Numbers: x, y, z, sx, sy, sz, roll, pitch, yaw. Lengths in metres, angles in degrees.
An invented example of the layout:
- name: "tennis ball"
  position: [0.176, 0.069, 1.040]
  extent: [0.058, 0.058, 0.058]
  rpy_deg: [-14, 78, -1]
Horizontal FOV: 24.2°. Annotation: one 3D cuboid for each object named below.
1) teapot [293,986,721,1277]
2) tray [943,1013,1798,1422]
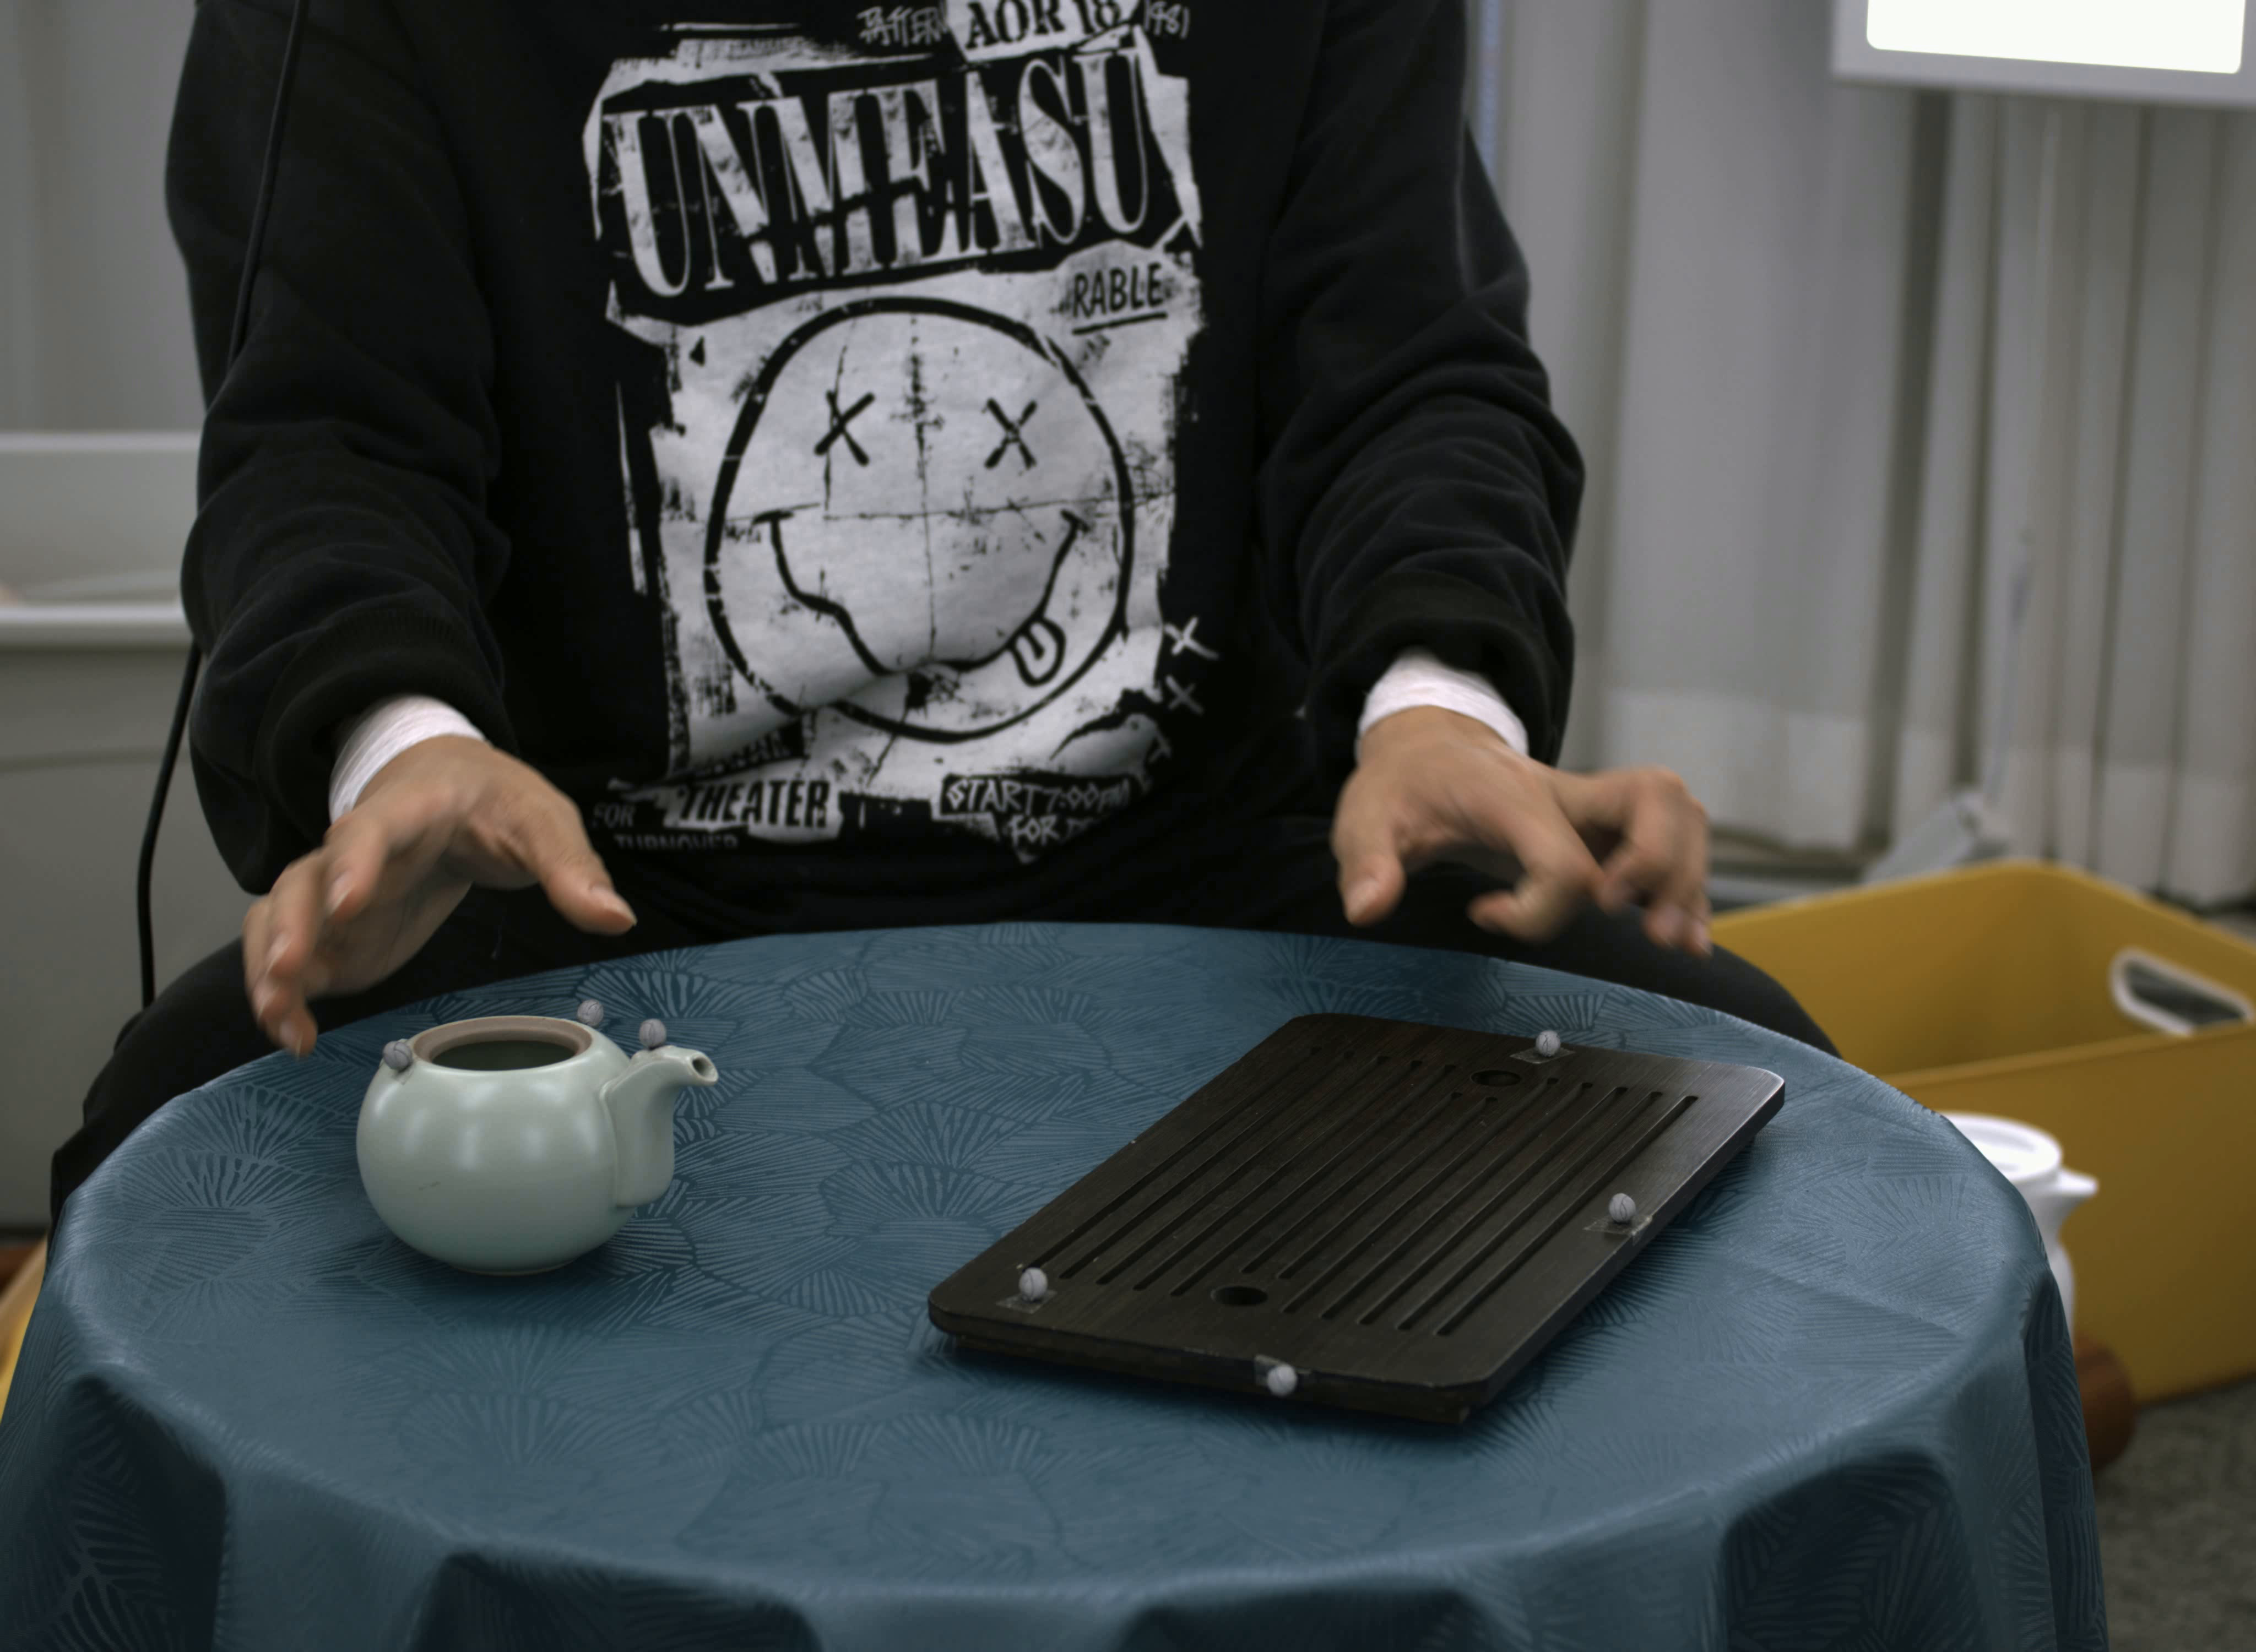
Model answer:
- name: "teapot"
  position: [-0.183, 0.092, 1.555]
  extent: [0.142, 0.075, 0.088]
  rpy_deg: [10, 18, 25]
- name: "tray"
  position: [0.081, 0.114, 1.585]
  extent: [0.168, 0.019, 0.306]
  rpy_deg: [7, 16, 22]
